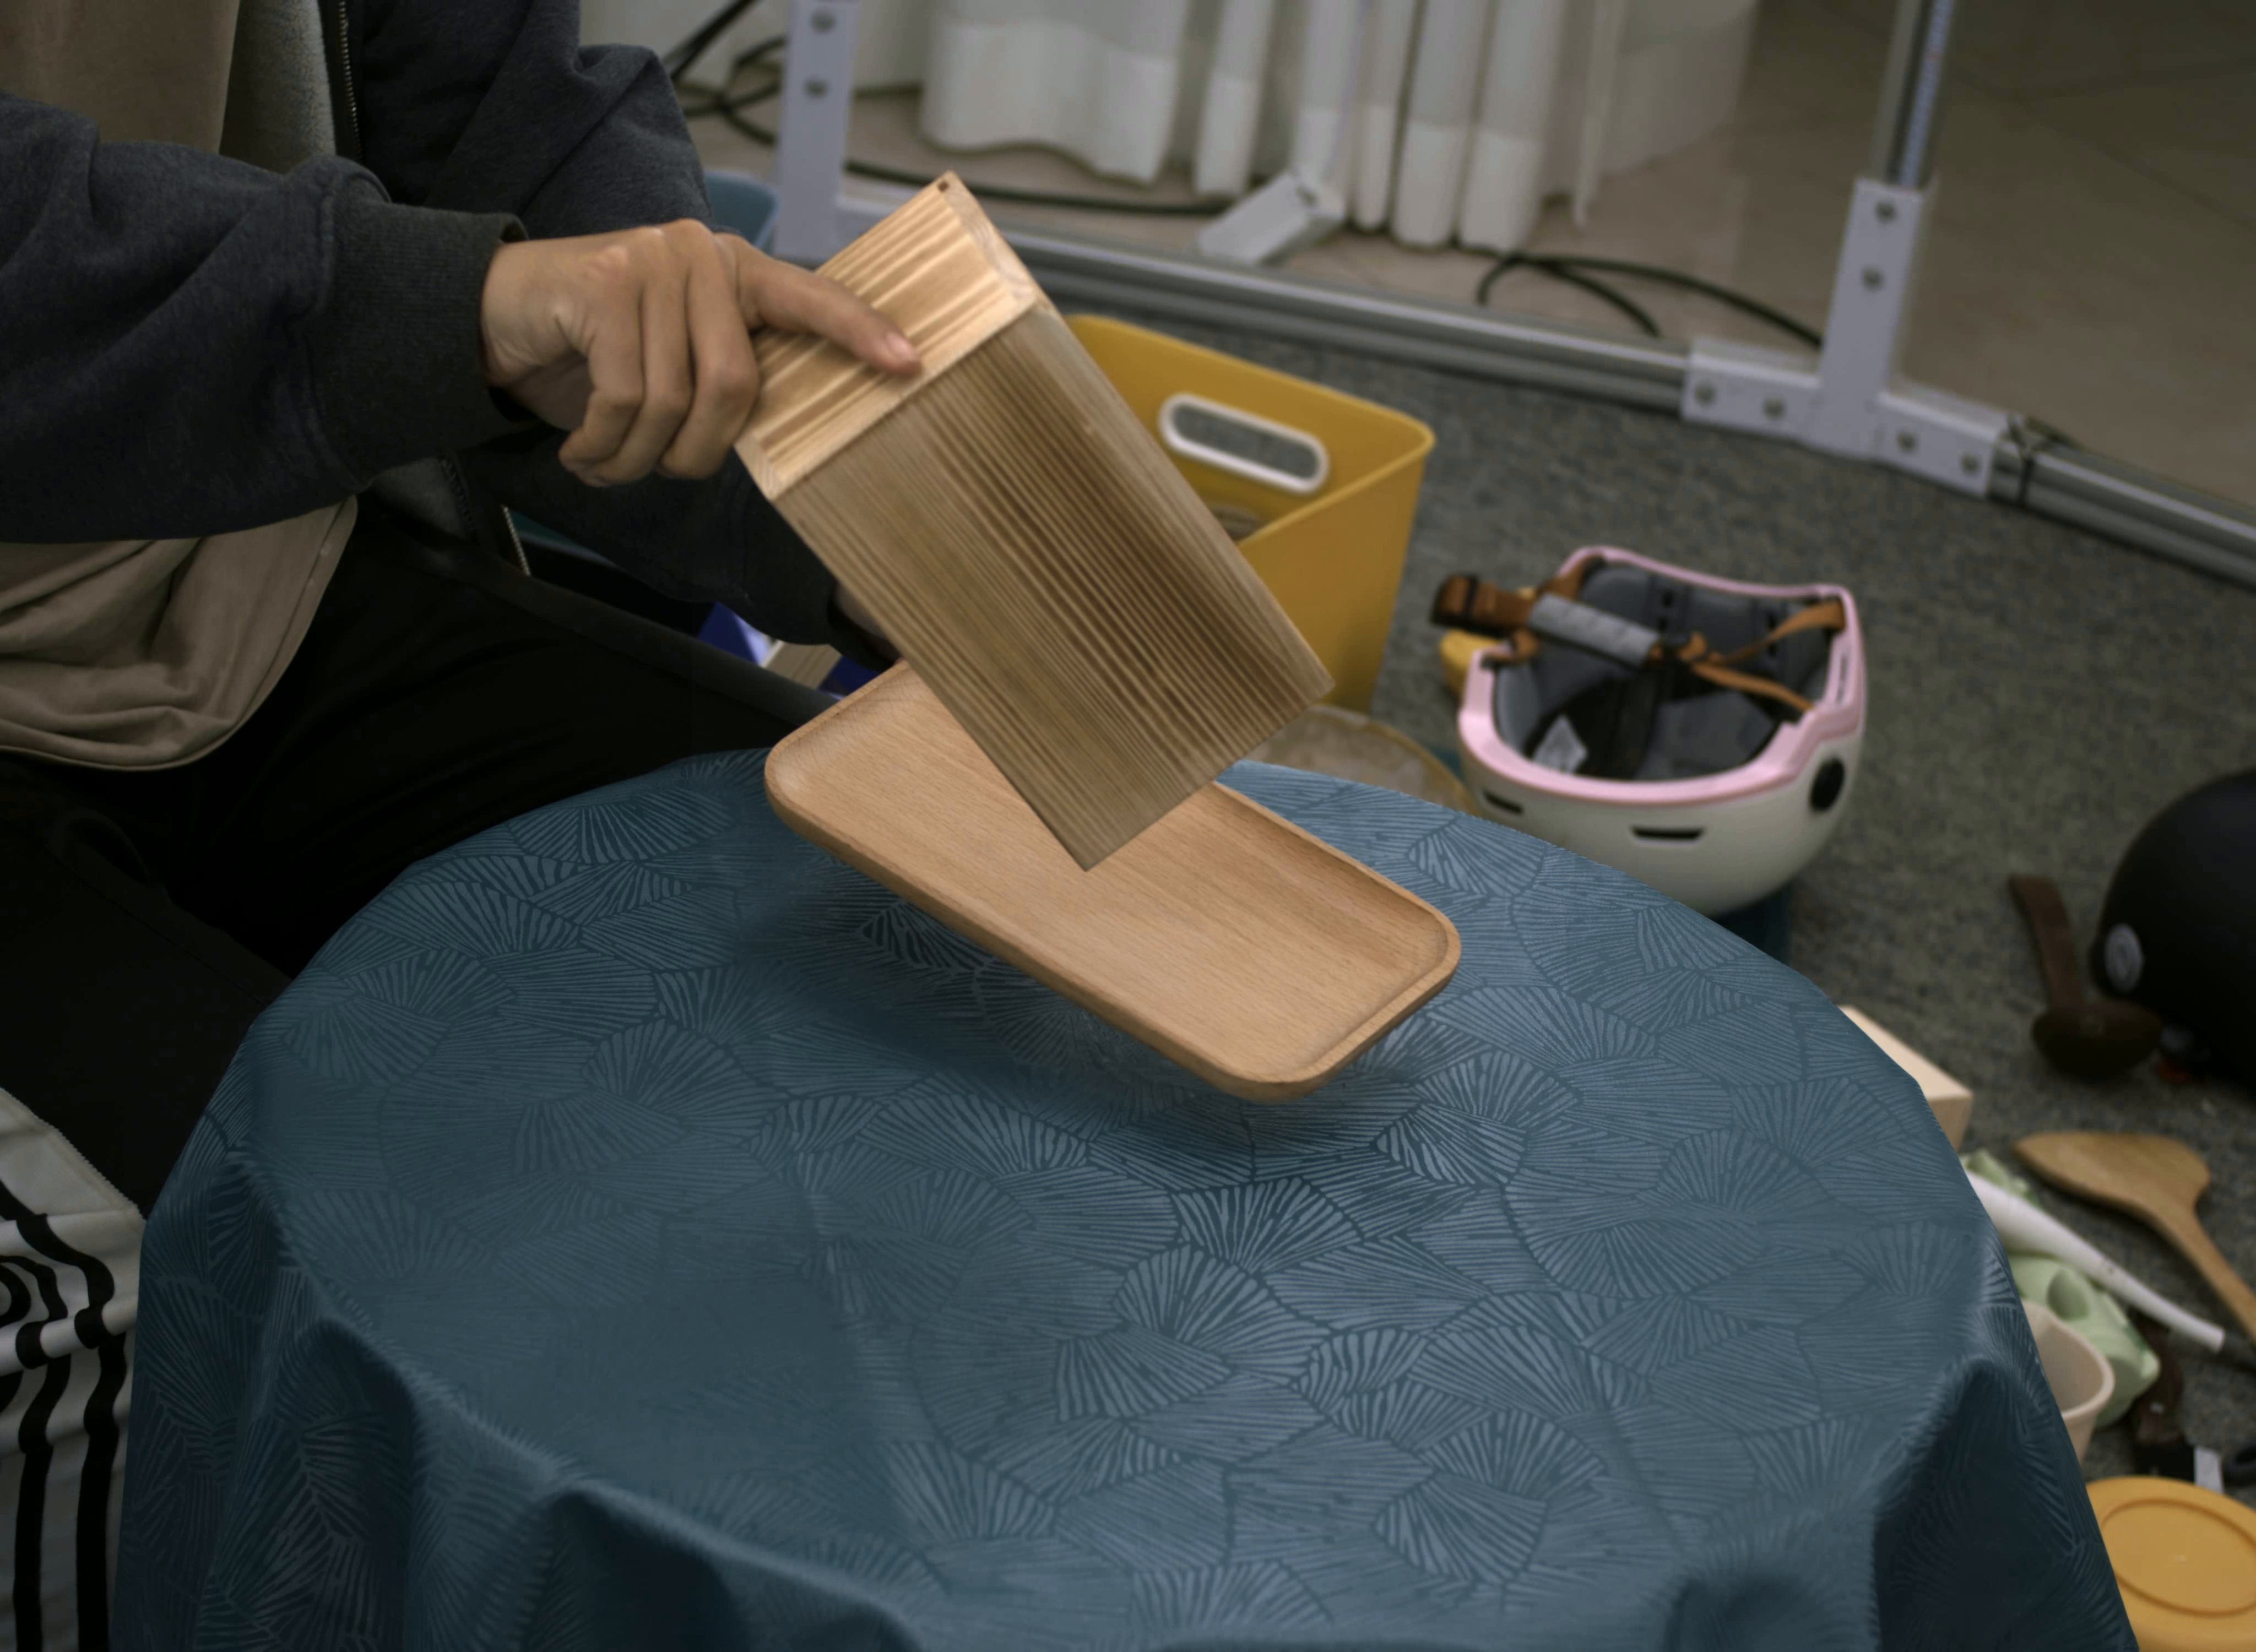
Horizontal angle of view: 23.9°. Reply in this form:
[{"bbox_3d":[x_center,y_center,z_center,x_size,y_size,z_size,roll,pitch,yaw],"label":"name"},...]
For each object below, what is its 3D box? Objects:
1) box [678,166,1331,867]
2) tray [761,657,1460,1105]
[{"bbox_3d":[-0.038,-0.097,1.724,0.107,0.209,0.081,-36,43,4],"label":"box"},{"bbox_3d":[-0.008,0.015,1.901,0.252,0.023,0.130,30,41,27],"label":"tray"}]
